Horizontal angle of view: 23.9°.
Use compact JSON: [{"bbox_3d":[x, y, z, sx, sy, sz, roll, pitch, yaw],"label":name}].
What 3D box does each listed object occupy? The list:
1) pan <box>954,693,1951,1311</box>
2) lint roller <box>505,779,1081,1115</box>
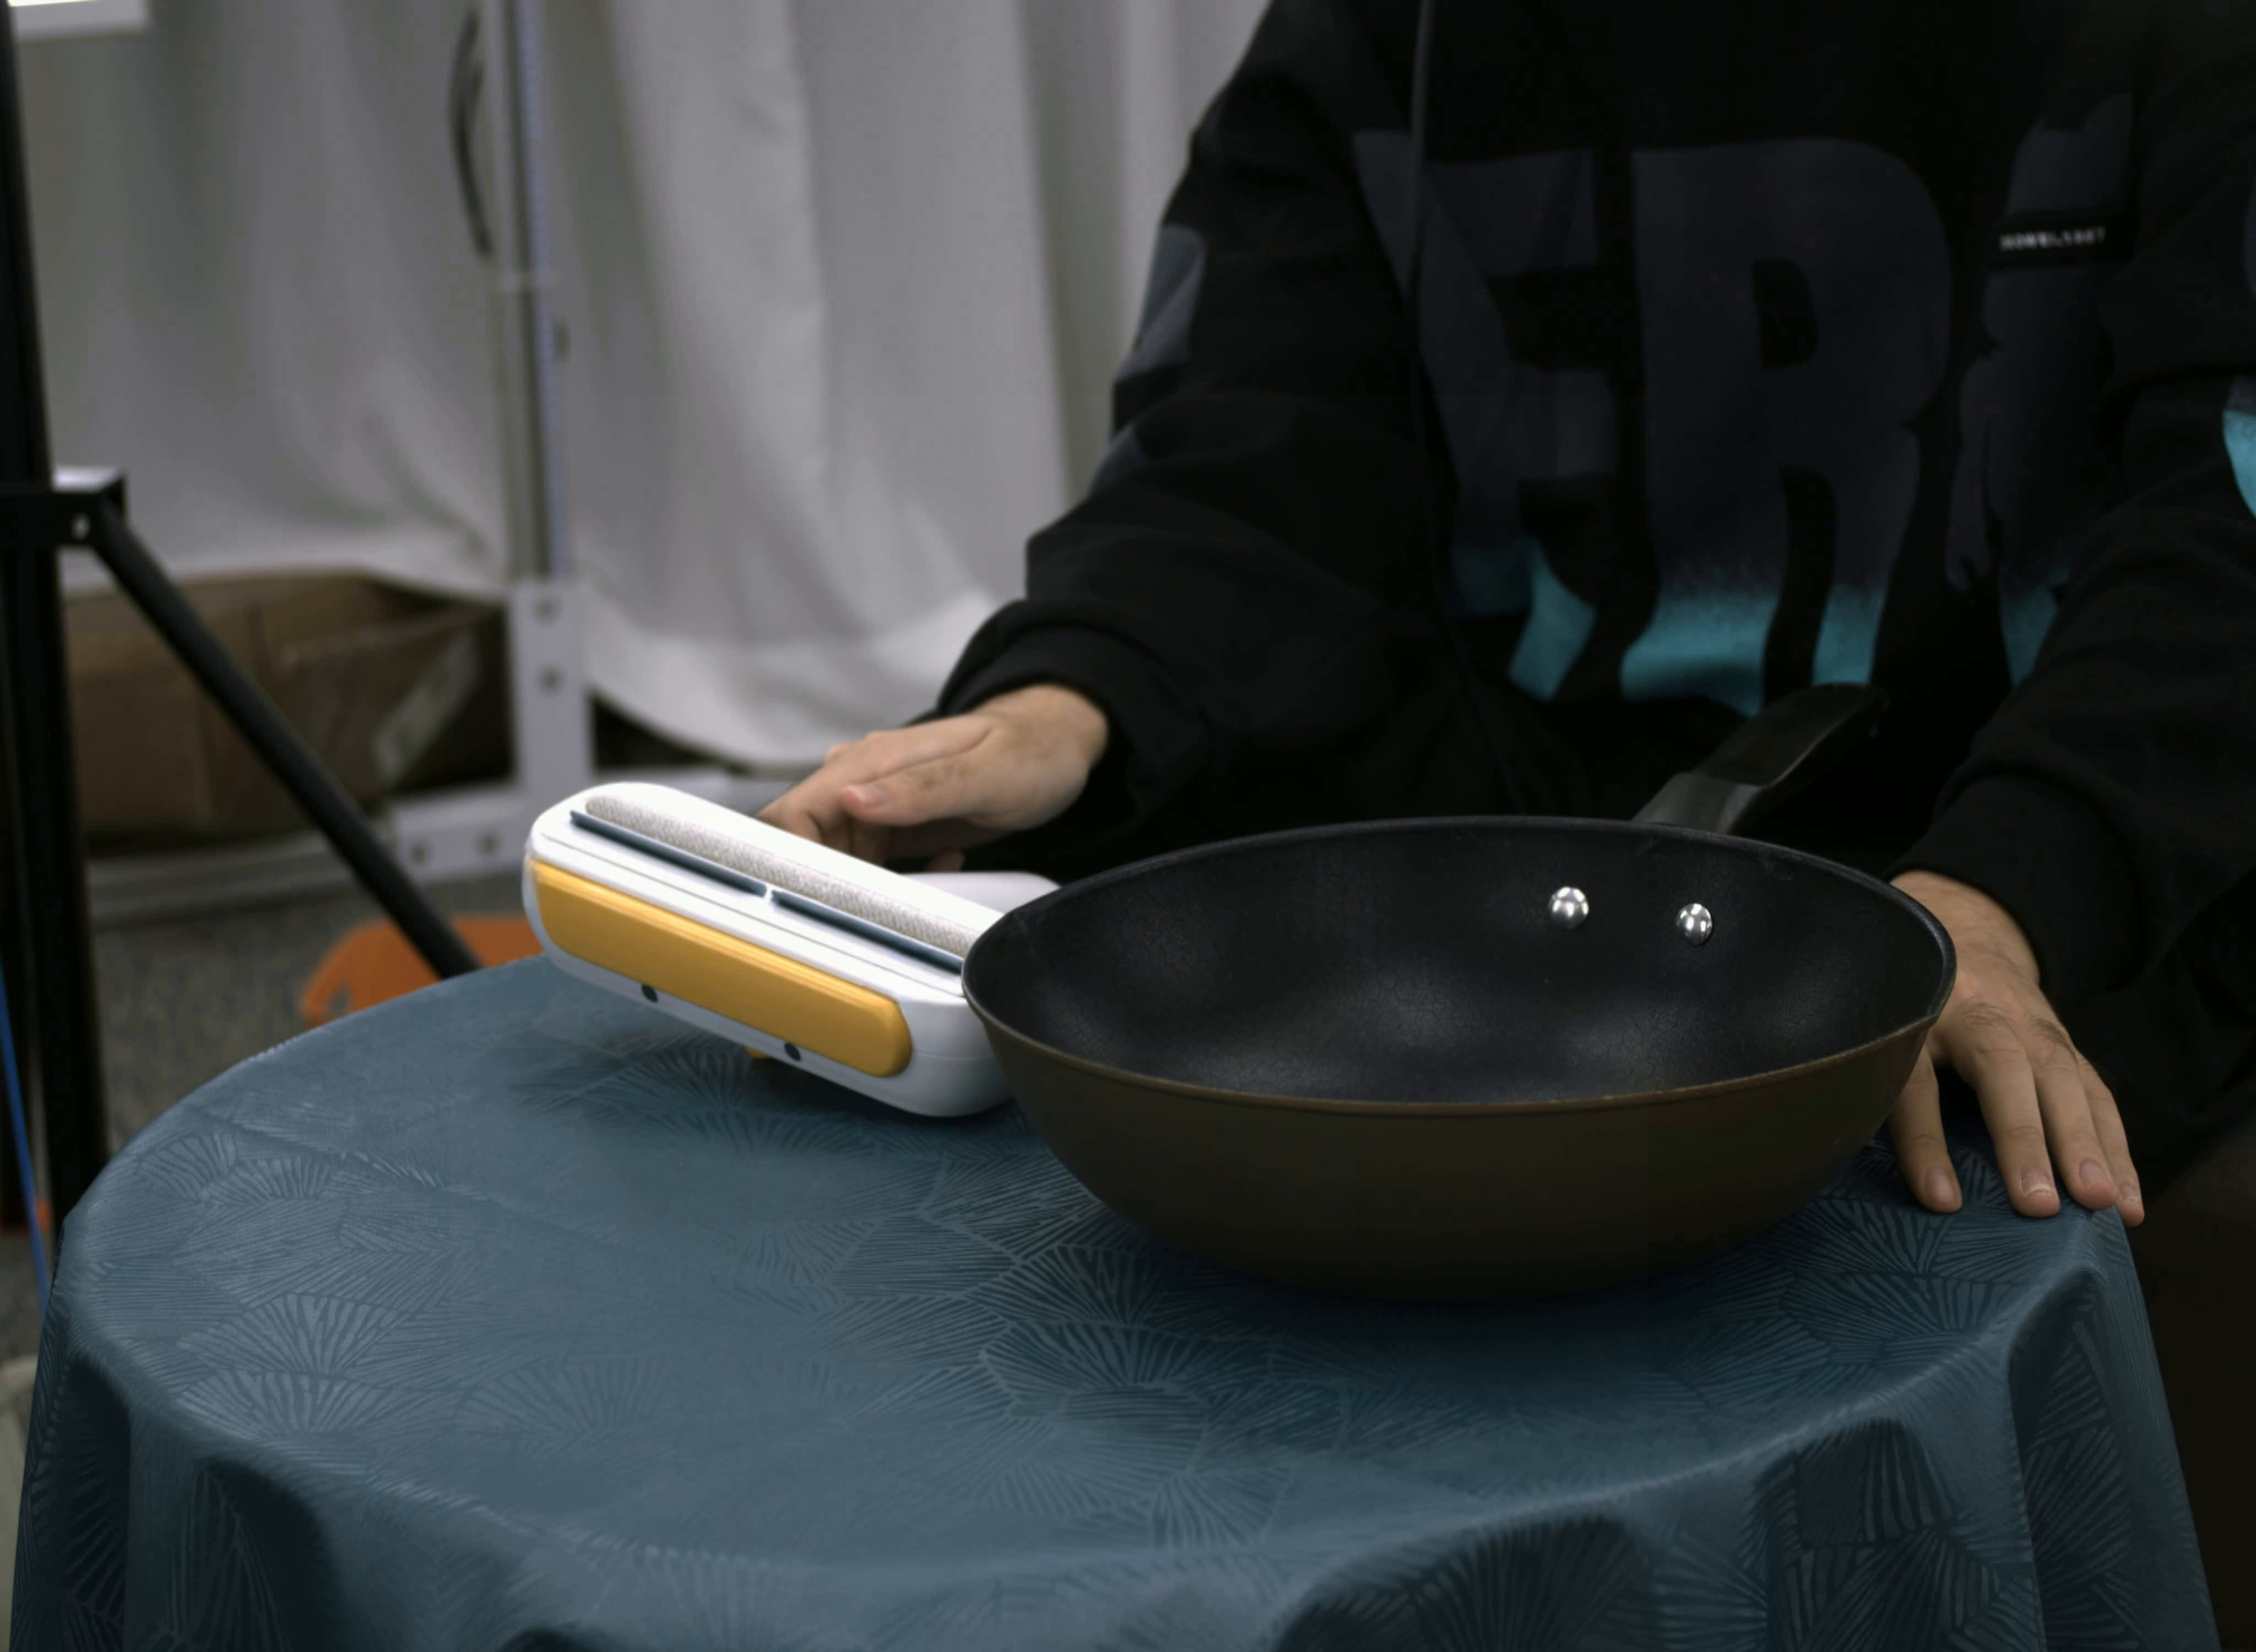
[{"bbox_3d":[0.135,0.050,1.587,0.293,0.087,0.455,6,18,29],"label":"pan"},{"bbox_3d":[-0.077,0.031,1.720,0.197,0.074,0.188,17,22,37],"label":"lint roller"}]
